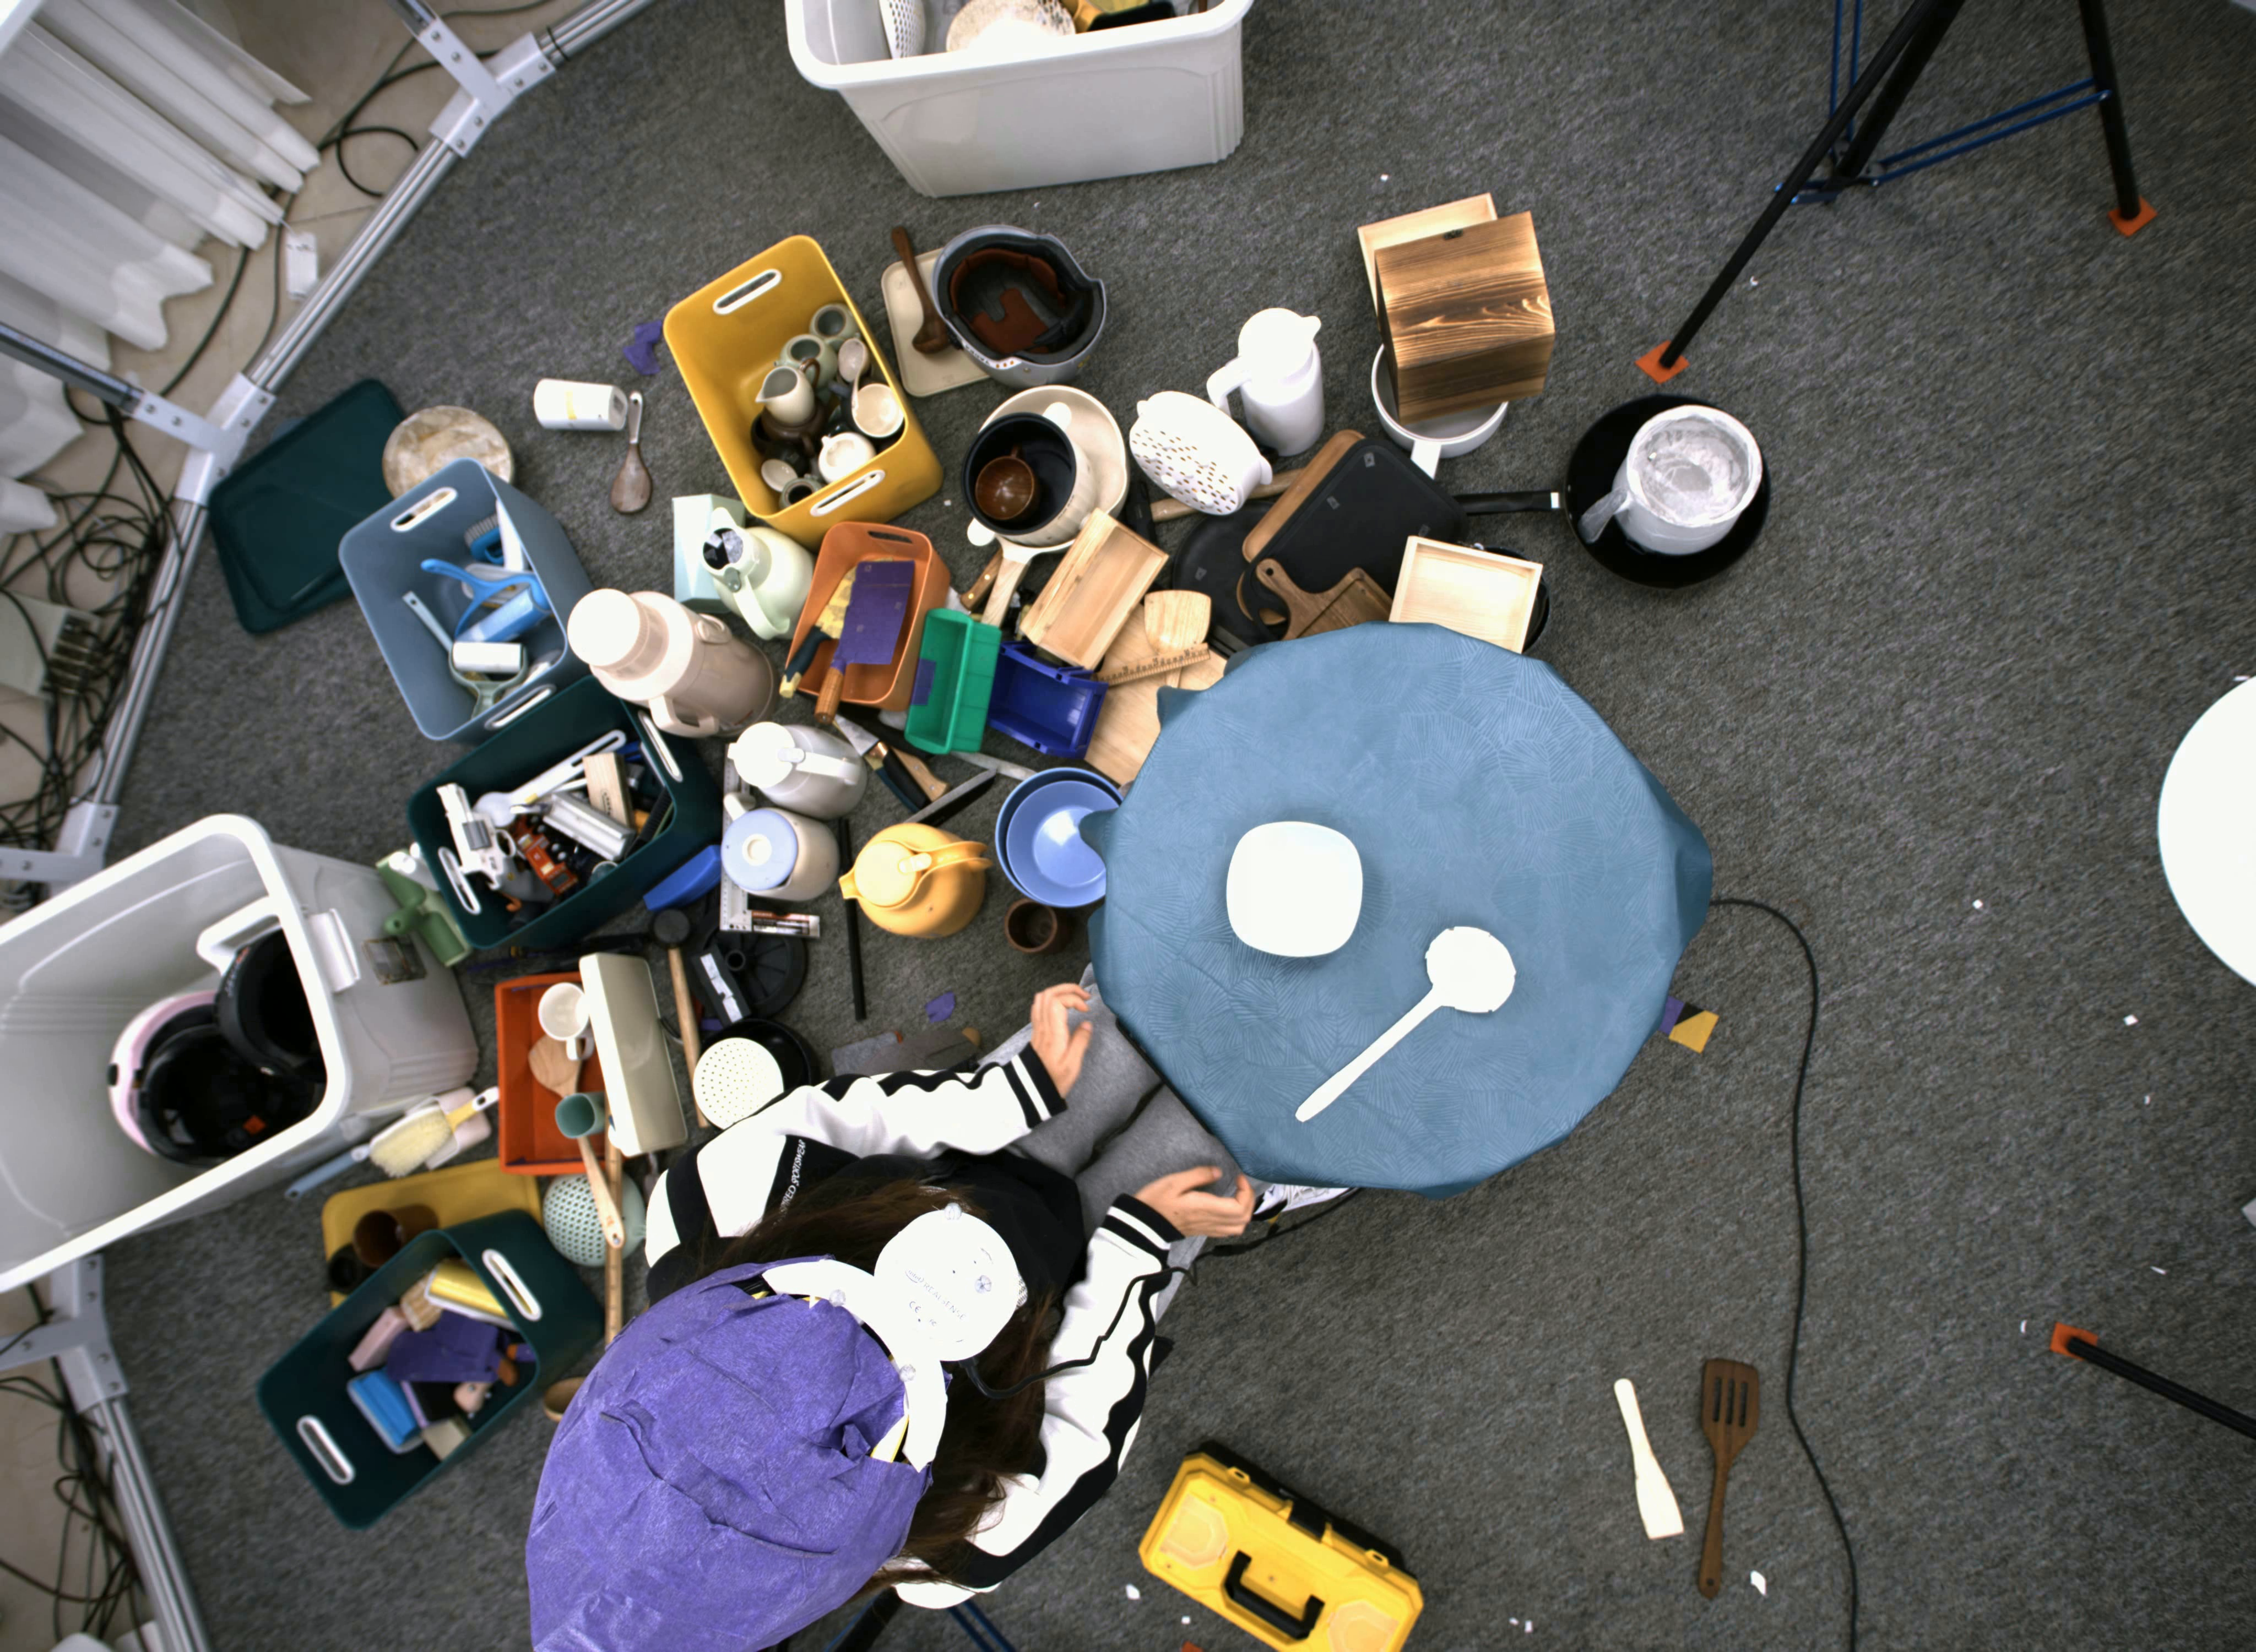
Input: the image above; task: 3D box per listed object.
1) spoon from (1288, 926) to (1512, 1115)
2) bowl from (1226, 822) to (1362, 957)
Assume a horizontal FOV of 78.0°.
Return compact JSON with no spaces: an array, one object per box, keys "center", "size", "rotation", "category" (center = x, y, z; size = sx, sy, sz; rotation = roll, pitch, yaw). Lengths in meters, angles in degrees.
[{"center":[0.270,0.206,1.424],"size":[0.279,0.059,0.100],"rotation":[-39,76,6],"category":"spoon"},{"center":[0.175,0.068,1.451],"size":[0.152,0.058,0.151],"rotation":[-1,86,10],"category":"bowl"}]
